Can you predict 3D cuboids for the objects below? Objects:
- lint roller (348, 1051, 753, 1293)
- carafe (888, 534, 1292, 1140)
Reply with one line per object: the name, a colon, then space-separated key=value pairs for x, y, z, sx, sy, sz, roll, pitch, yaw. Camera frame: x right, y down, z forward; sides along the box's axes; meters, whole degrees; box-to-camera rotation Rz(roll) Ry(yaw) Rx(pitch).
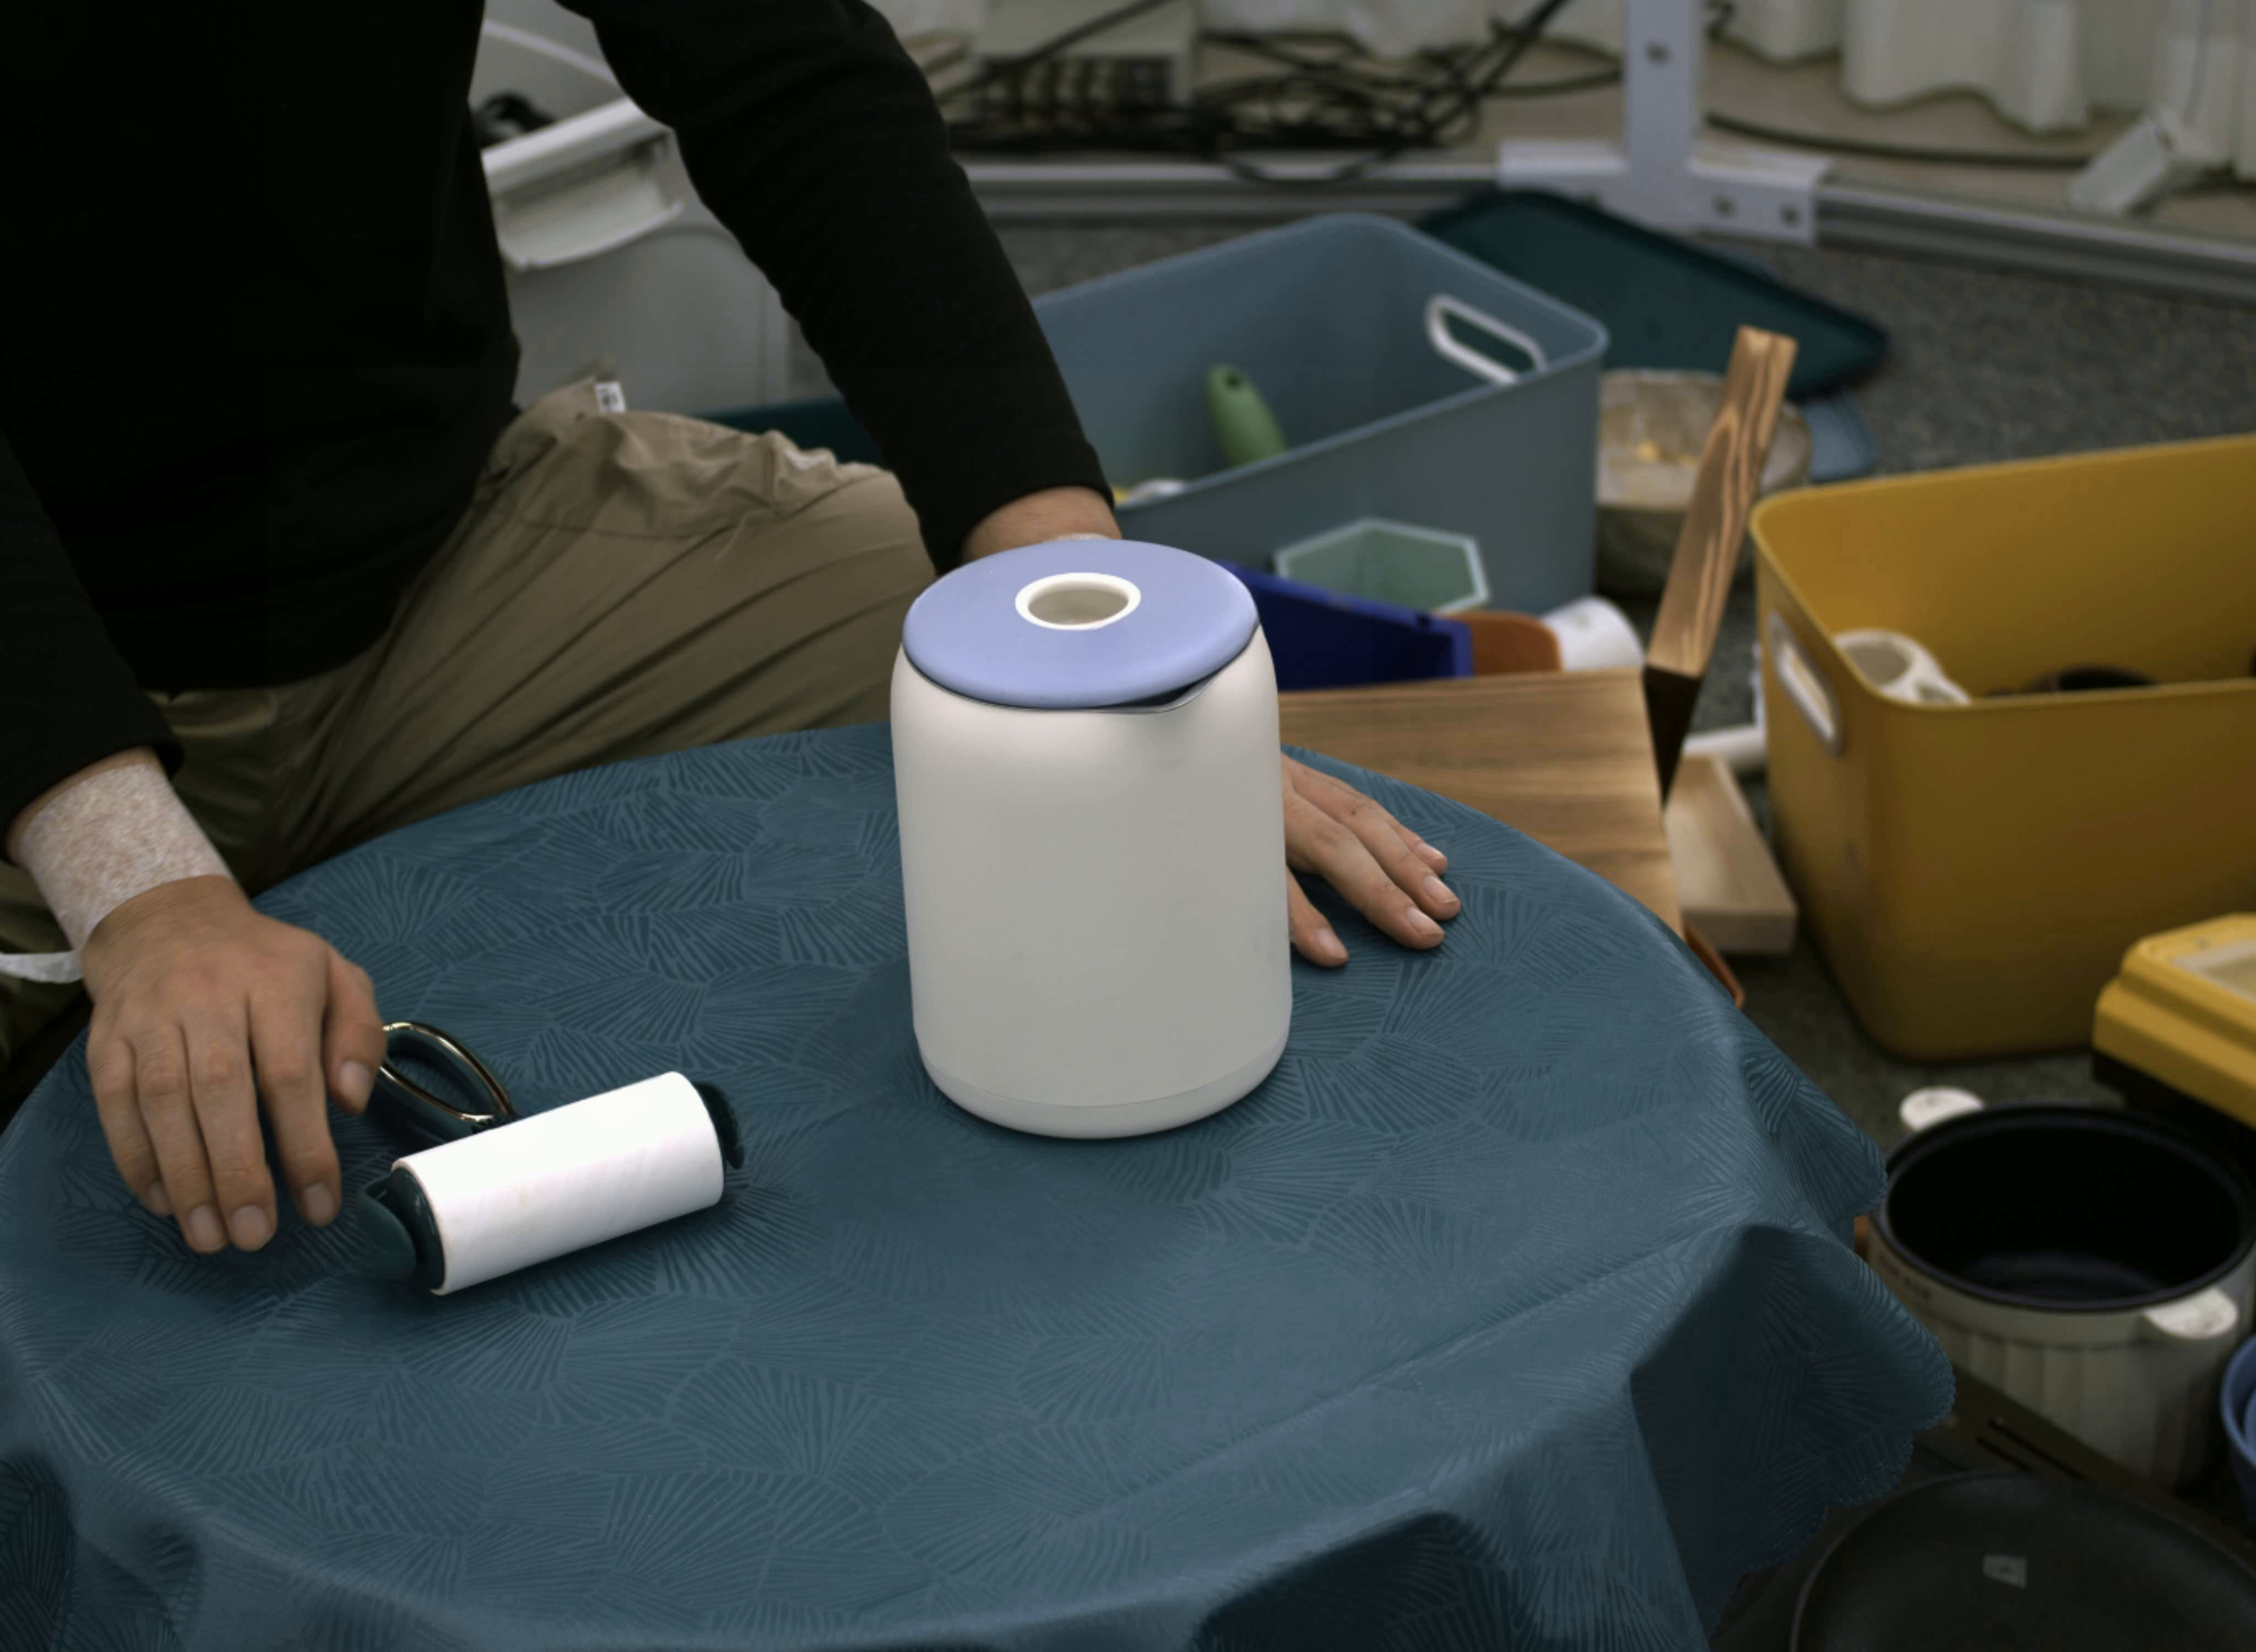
lint roller: x=-0.221 y=0.094 z=1.892 sx=0.135 sy=0.048 sz=0.180 roll=-17 pitch=28 yaw=-25
carafe: x=-0.024 y=-0.006 z=1.926 sx=0.133 sy=0.181 sz=0.192 roll=-16 pitch=27 yaw=-25
